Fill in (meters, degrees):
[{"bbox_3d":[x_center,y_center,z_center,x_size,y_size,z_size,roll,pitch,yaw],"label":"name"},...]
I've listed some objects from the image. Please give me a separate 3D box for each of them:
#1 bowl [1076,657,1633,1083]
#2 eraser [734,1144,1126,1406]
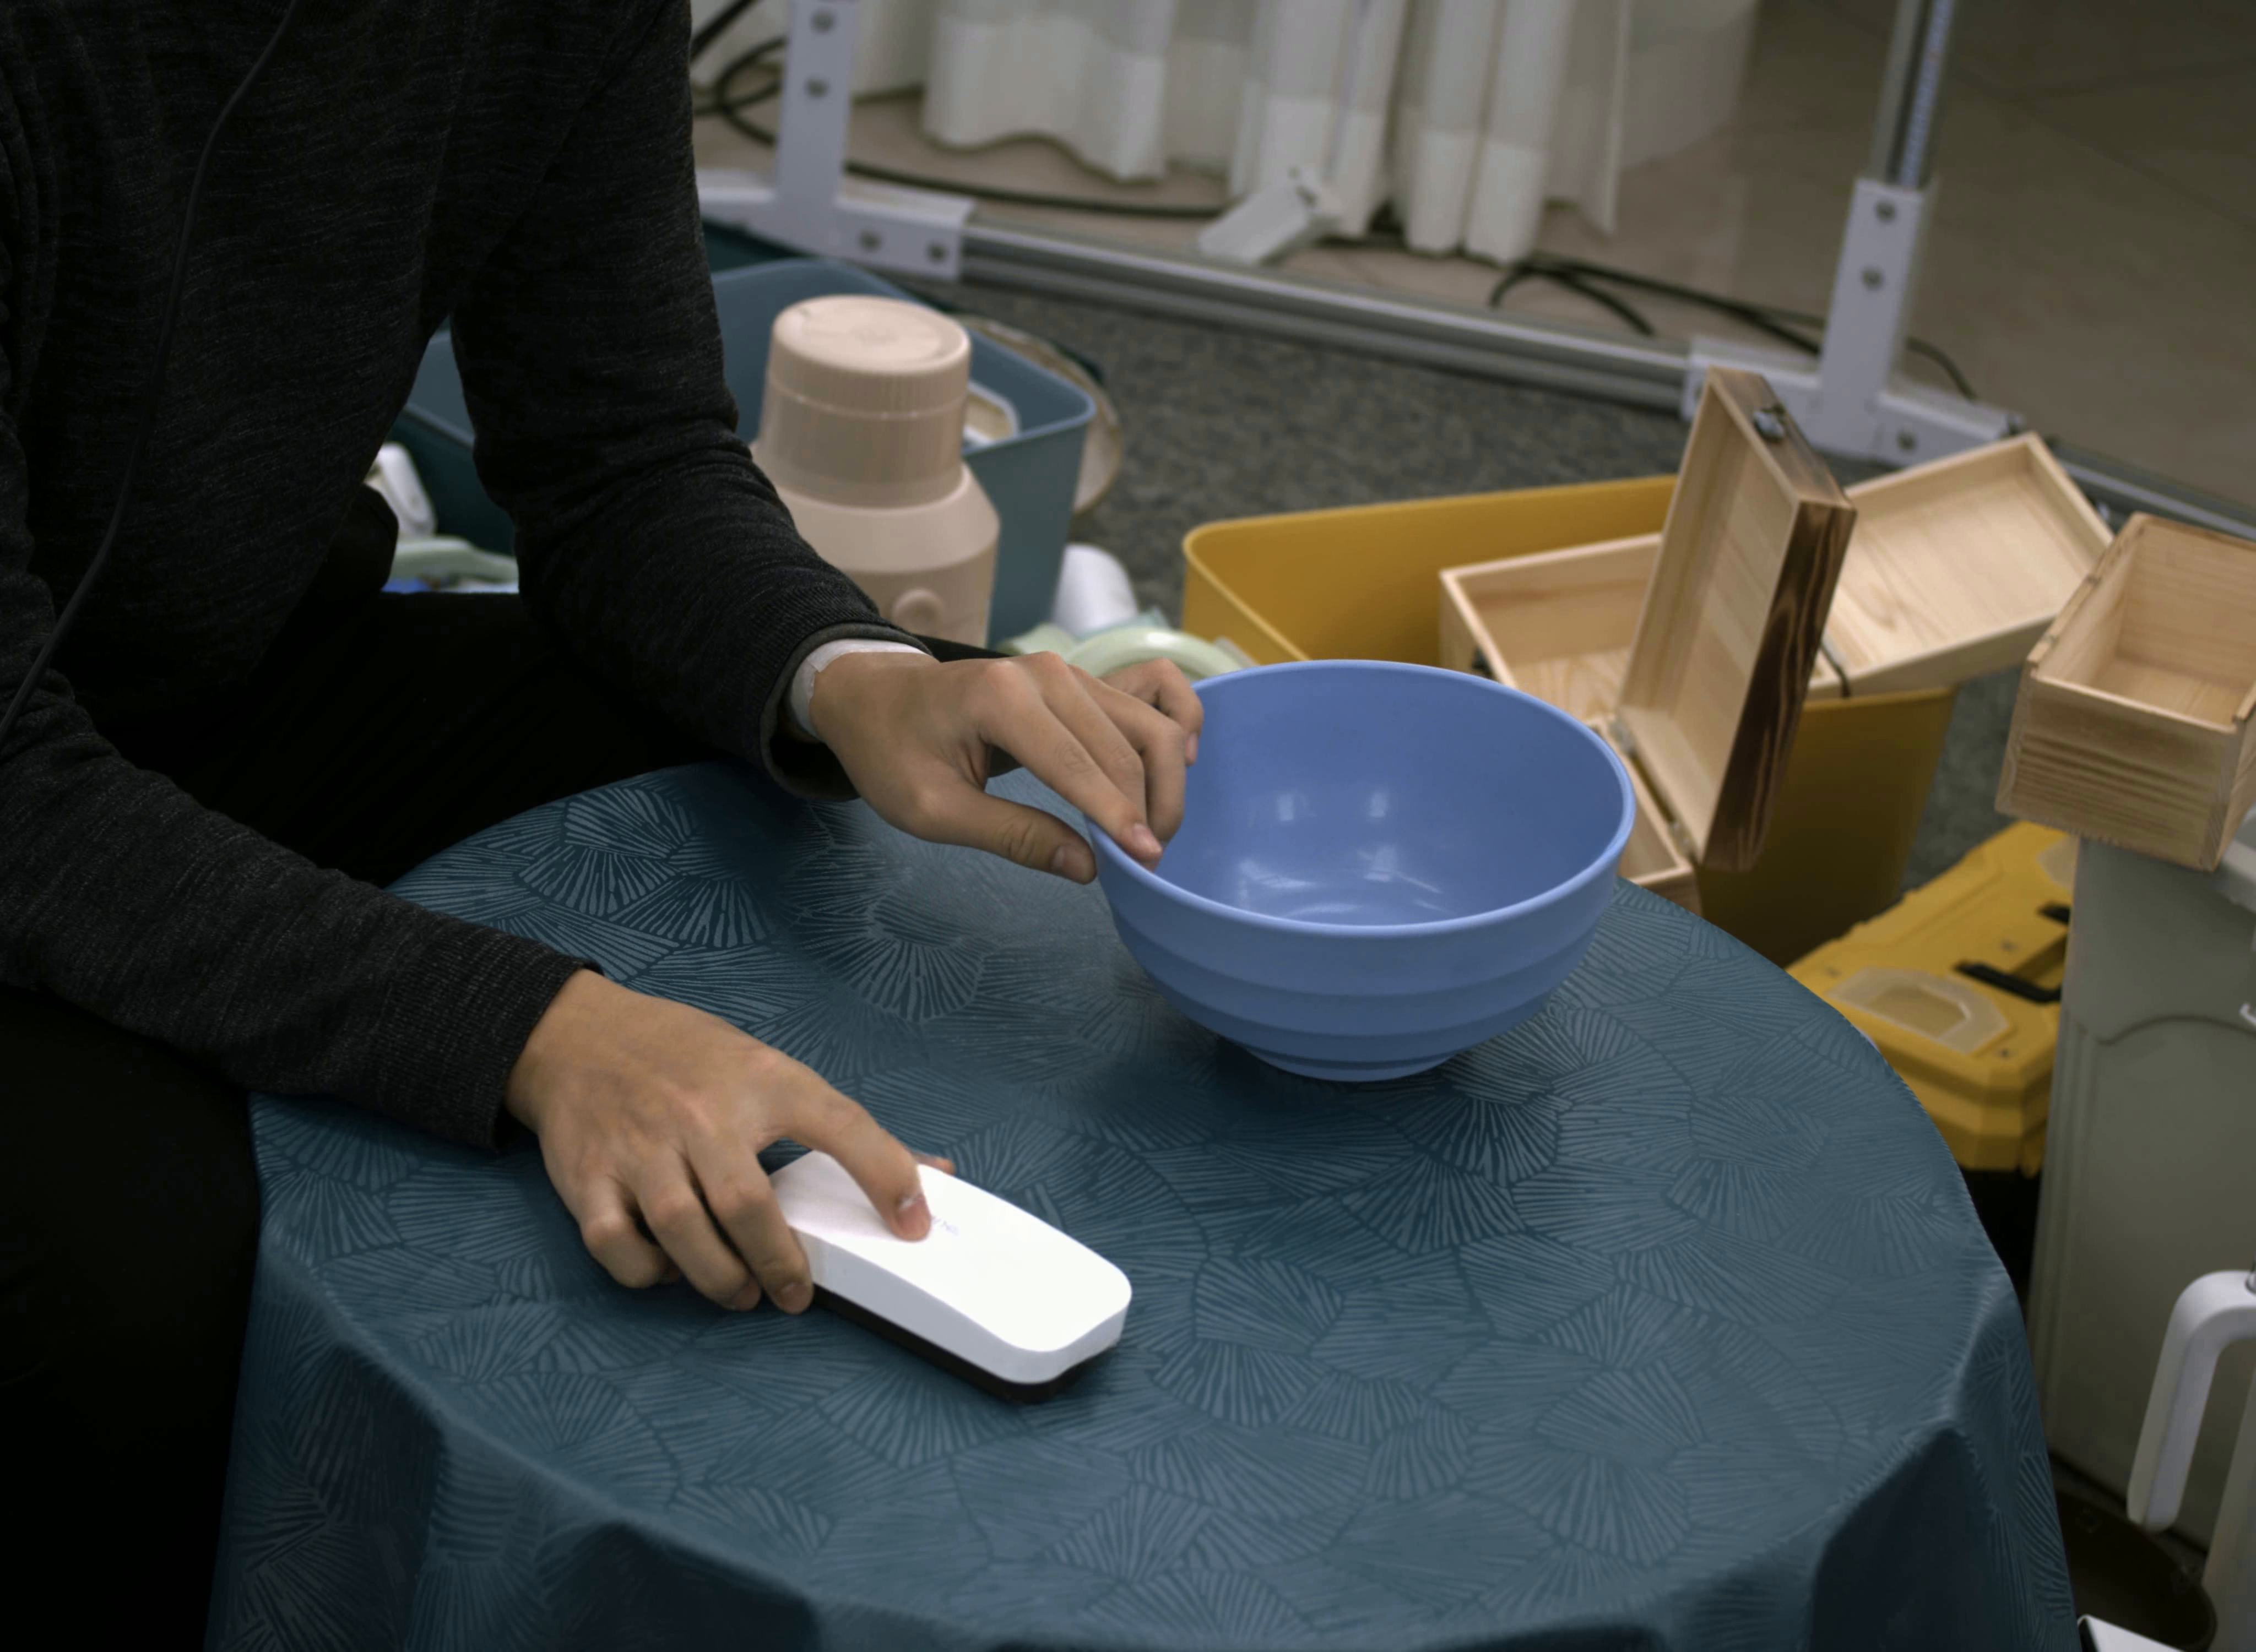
[{"bbox_3d":[0.080,0.028,1.894,0.196,0.095,0.198,0,30,0],"label":"bowl"},{"bbox_3d":[-0.064,0.141,1.719,0.132,0.034,0.063,25,32,30],"label":"eraser"}]
